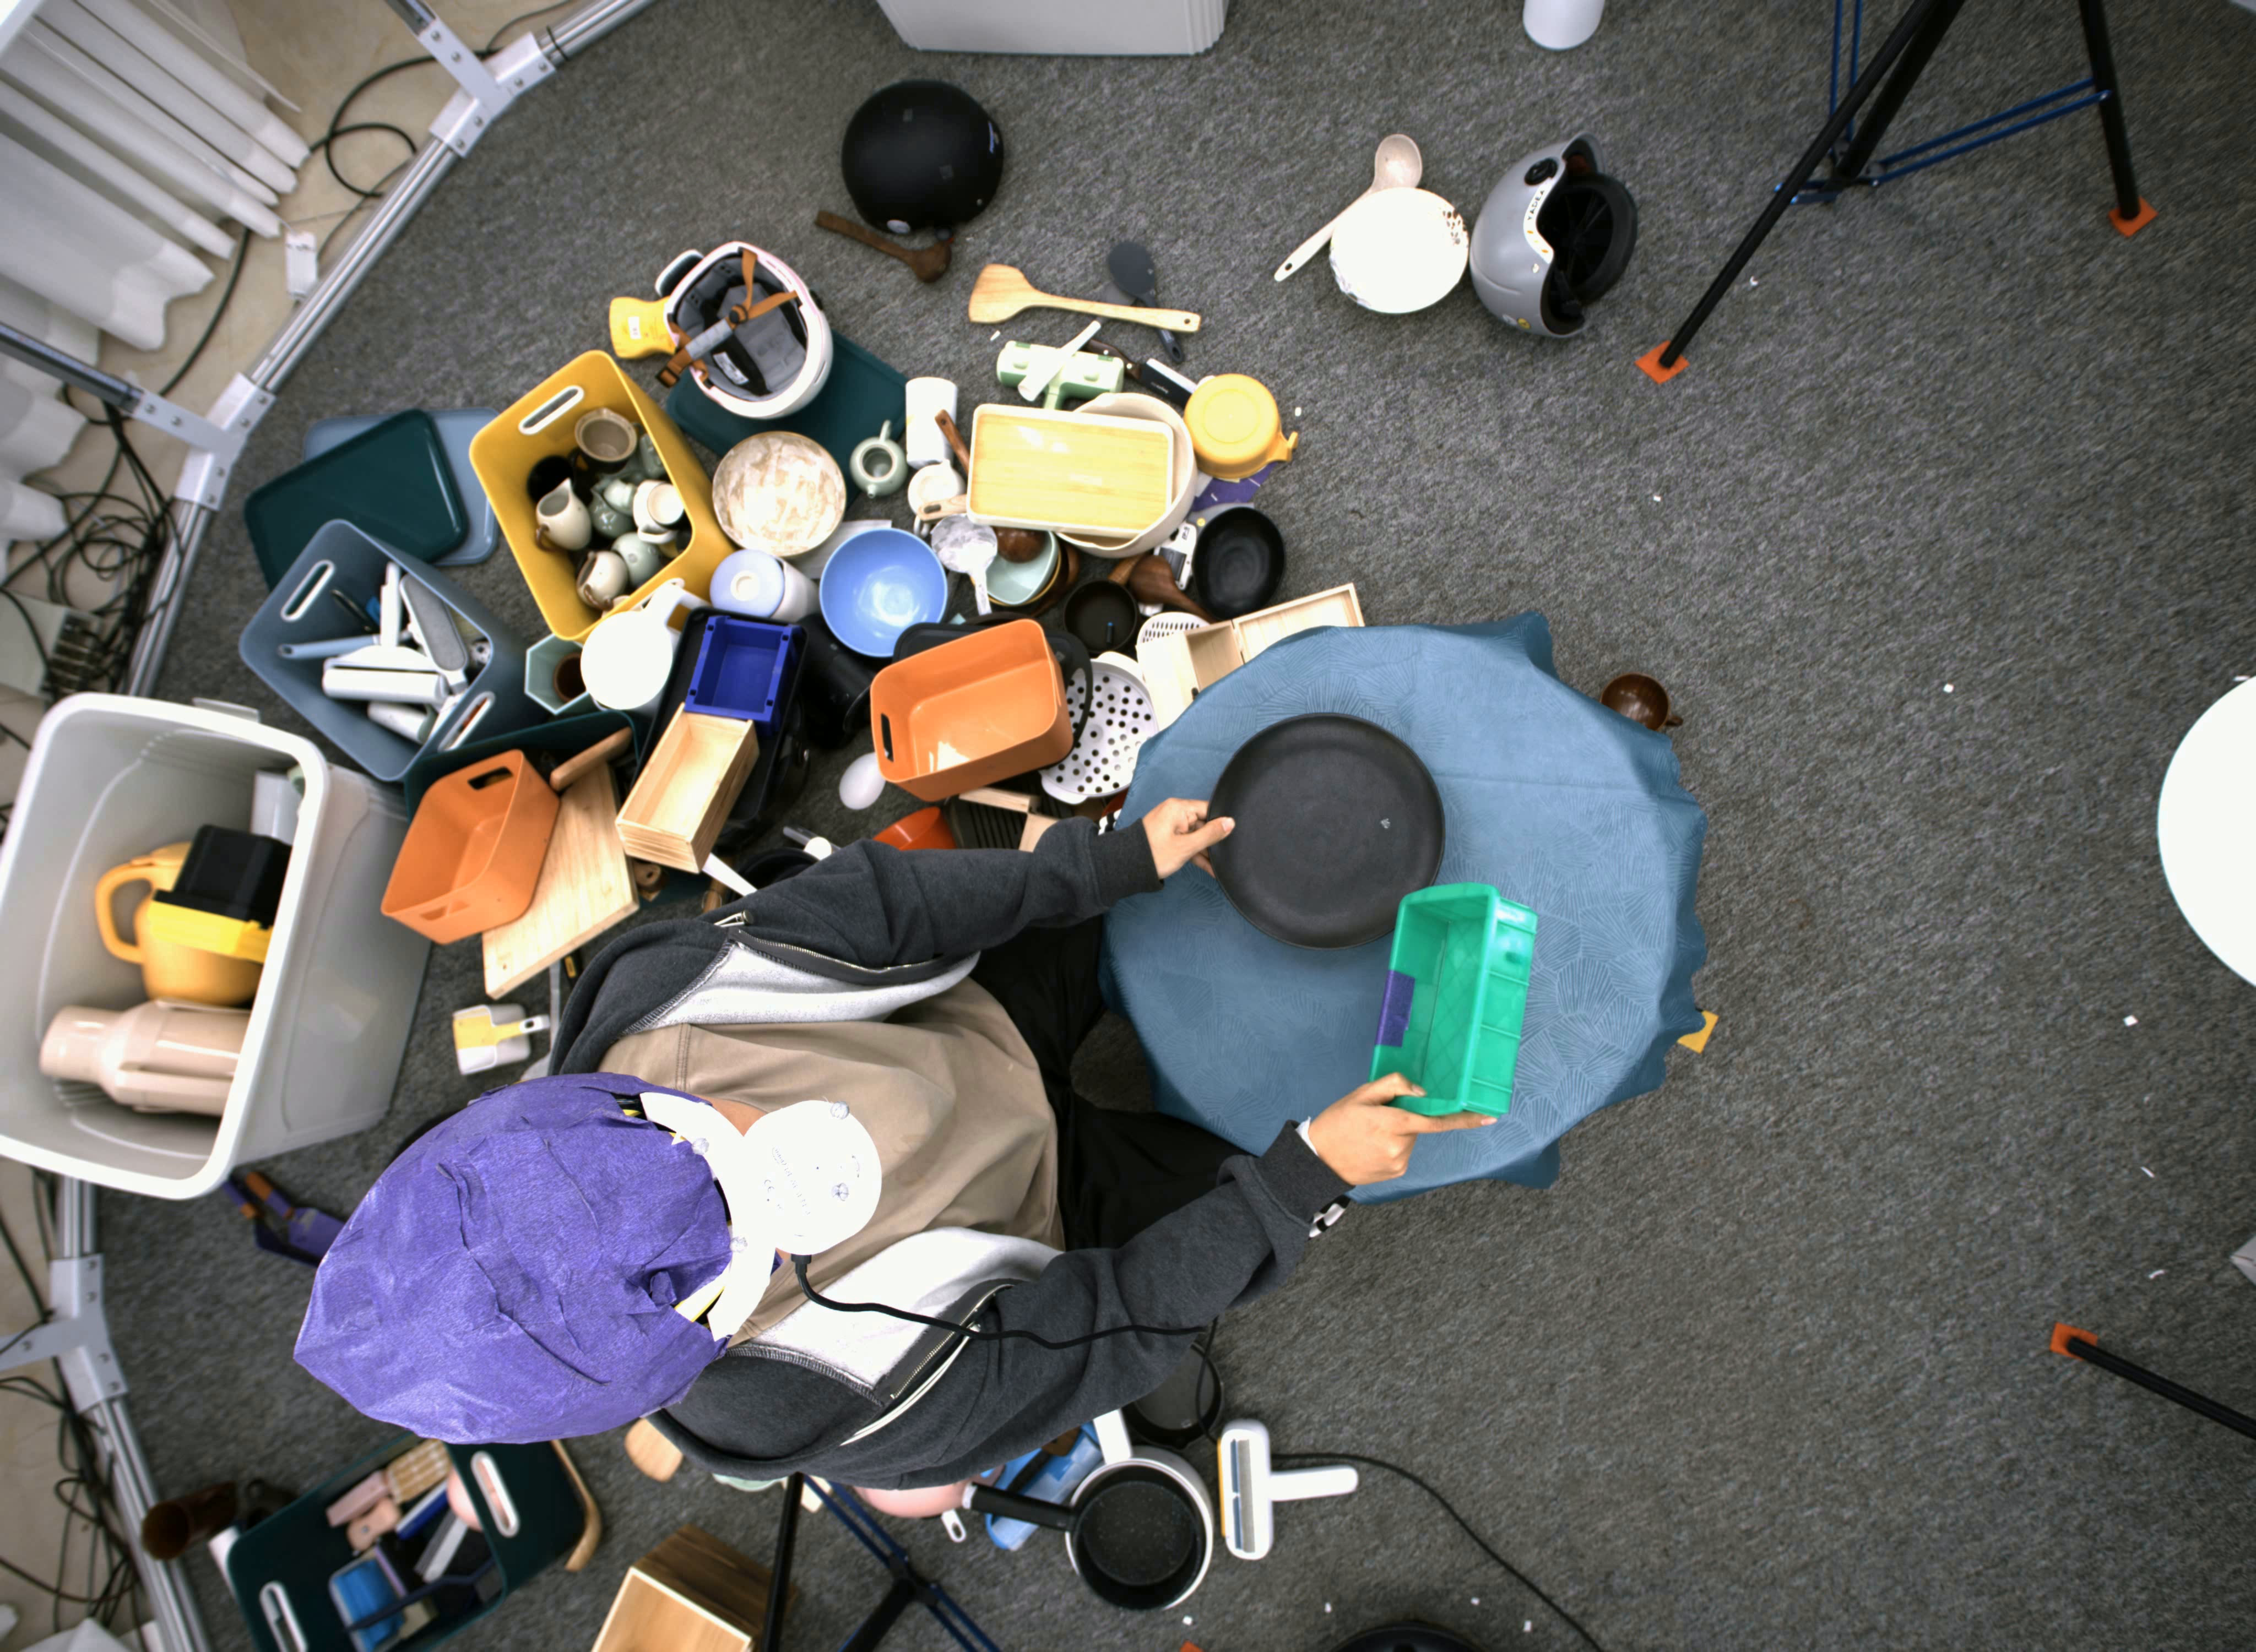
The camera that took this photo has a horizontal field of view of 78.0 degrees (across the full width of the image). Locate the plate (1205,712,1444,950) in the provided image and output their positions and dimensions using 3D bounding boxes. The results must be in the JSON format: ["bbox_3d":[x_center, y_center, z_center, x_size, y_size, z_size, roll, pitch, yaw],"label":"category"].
[{"bbox_3d":[0.200,0.004,1.411,0.245,0.023,0.243,0,88,3],"label":"plate"}]

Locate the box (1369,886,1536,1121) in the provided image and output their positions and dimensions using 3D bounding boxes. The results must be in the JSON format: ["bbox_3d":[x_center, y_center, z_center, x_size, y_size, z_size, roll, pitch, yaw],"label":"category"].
[{"bbox_3d":[0.295,0.163,1.246,0.065,0.140,0.208,15,78,-23],"label":"box"}]
